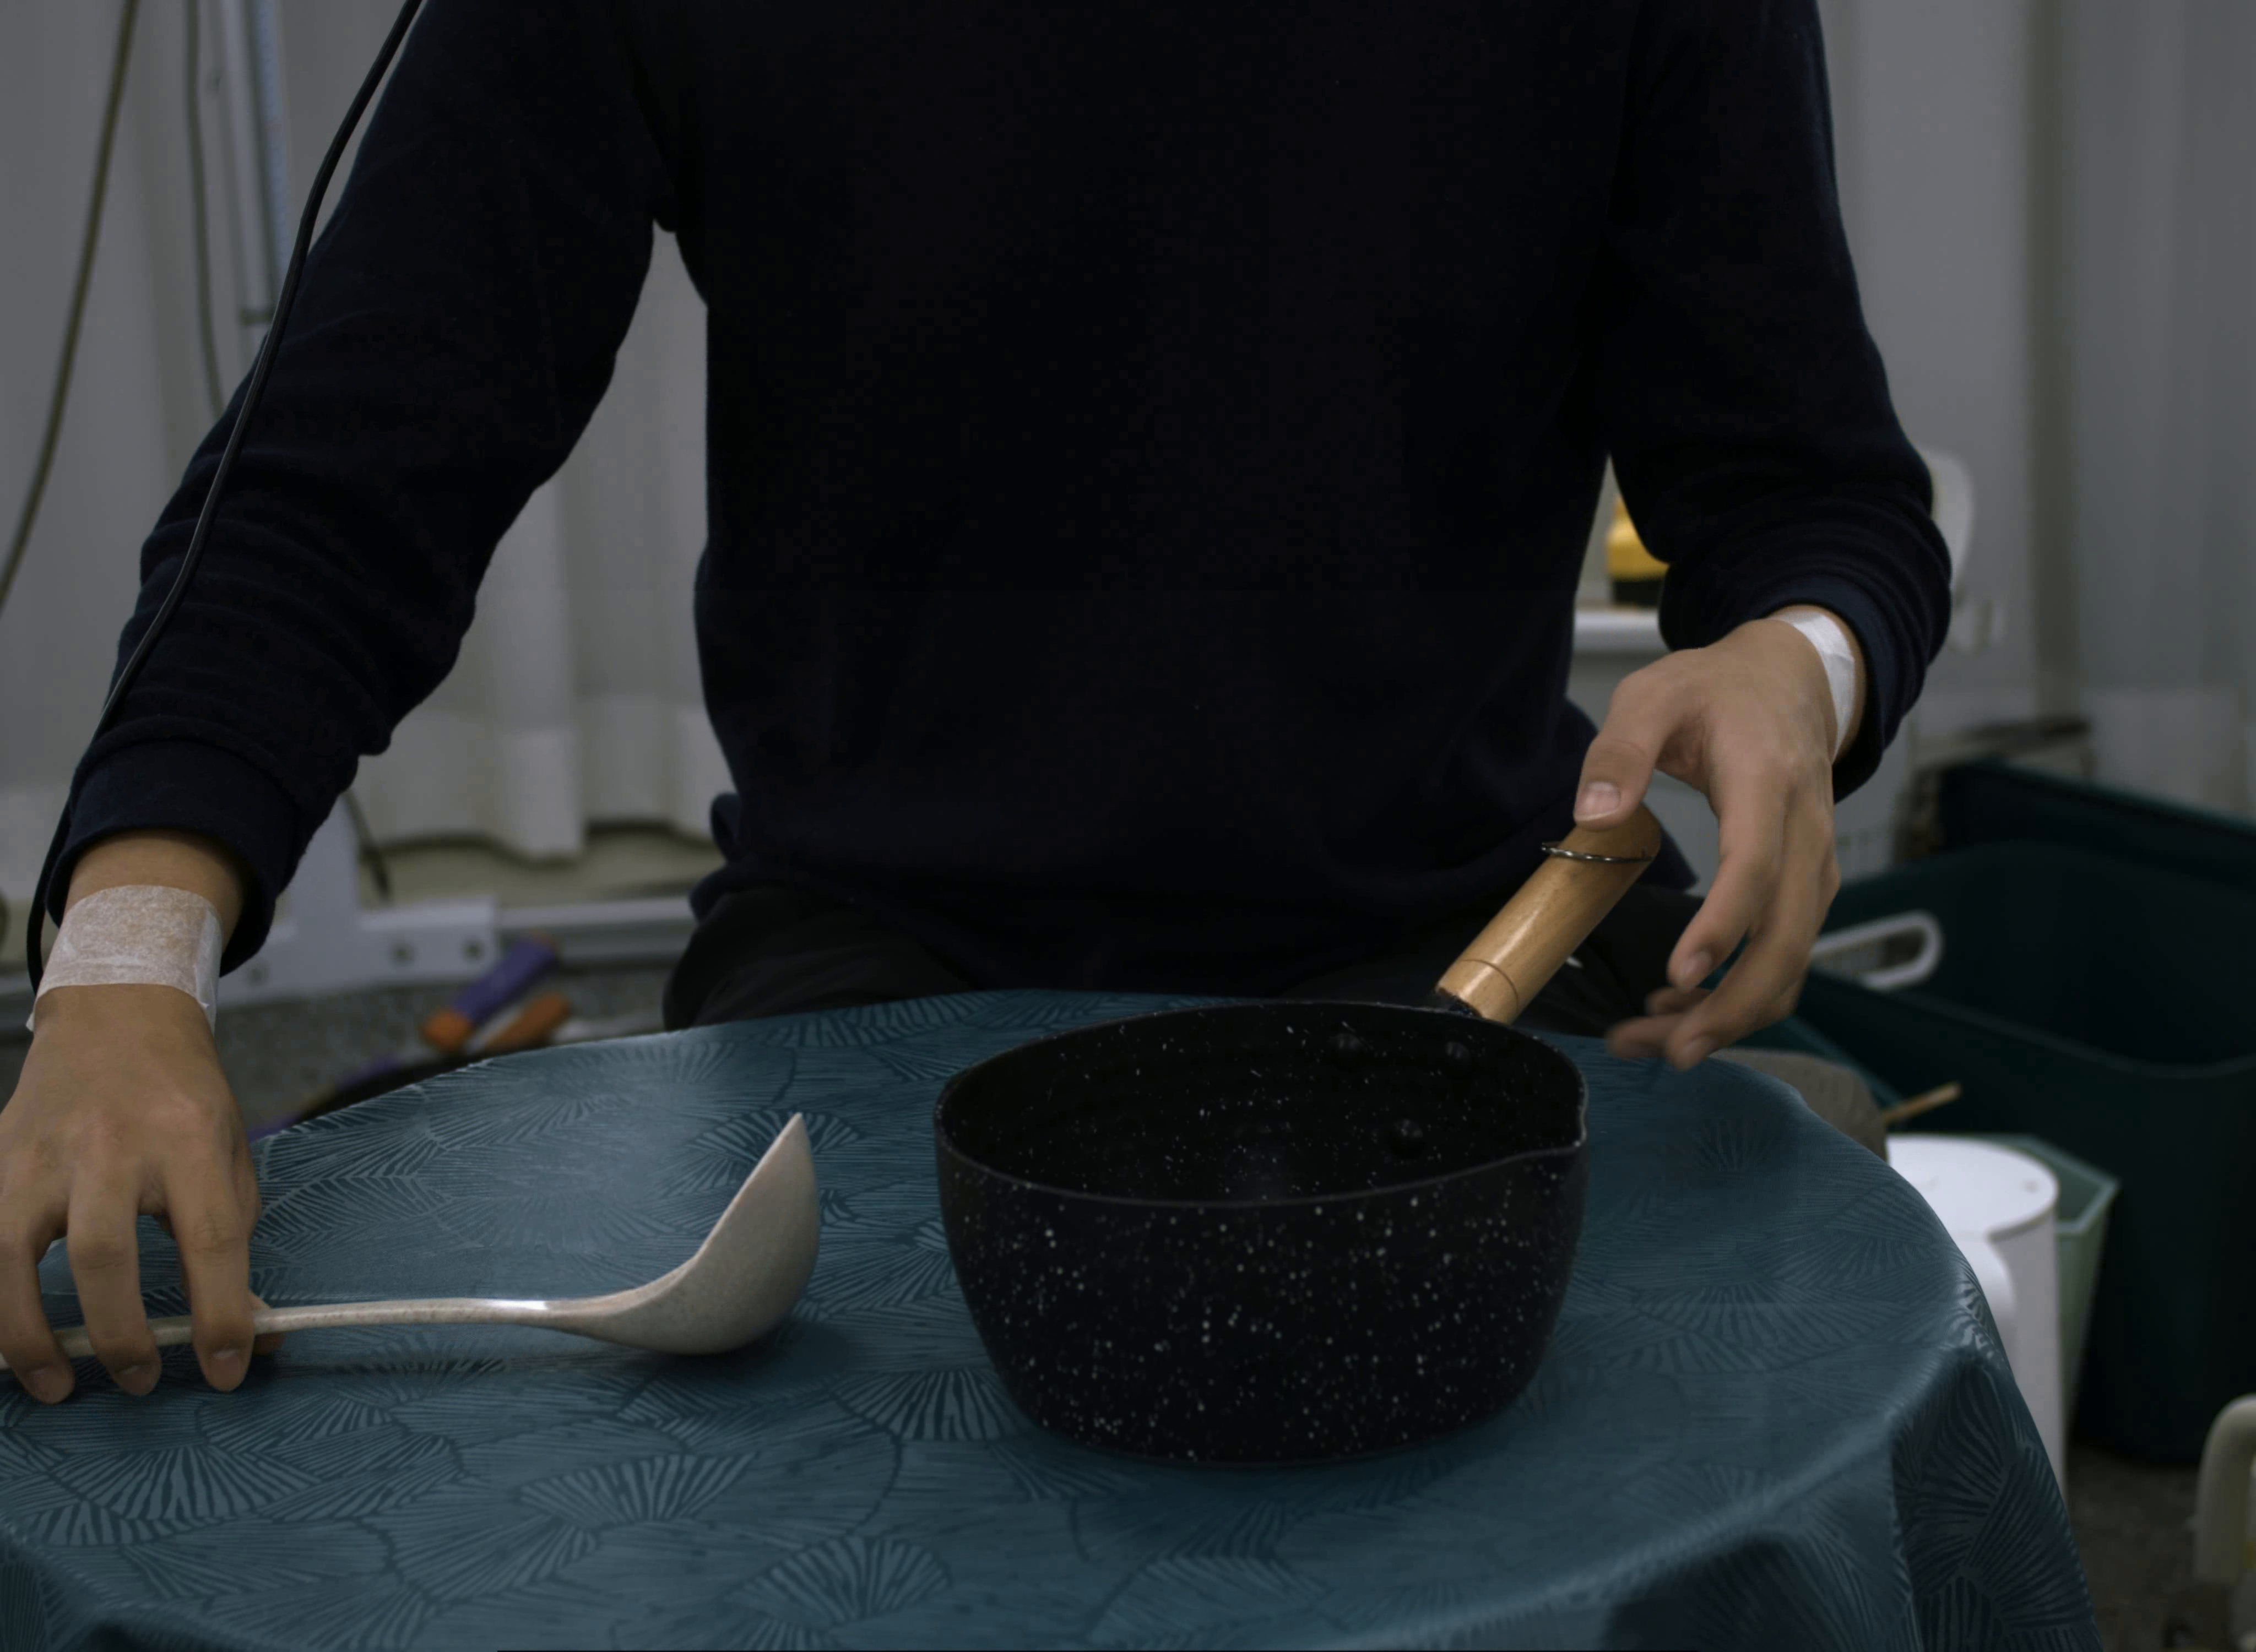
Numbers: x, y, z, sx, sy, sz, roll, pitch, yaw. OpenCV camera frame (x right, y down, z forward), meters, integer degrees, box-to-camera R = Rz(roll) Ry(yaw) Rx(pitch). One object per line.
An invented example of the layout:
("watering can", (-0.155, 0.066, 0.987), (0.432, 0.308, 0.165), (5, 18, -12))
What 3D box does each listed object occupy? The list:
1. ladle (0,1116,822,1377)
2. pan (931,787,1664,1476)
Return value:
("ladle", (-0.225, 0.125, 1.593), (0.274, 0.069, 0.089), (-3, 7, 2))
("pan", (0.076, 0.084, 1.606), (0.208, 0.108, 0.343), (4, 18, 29))
